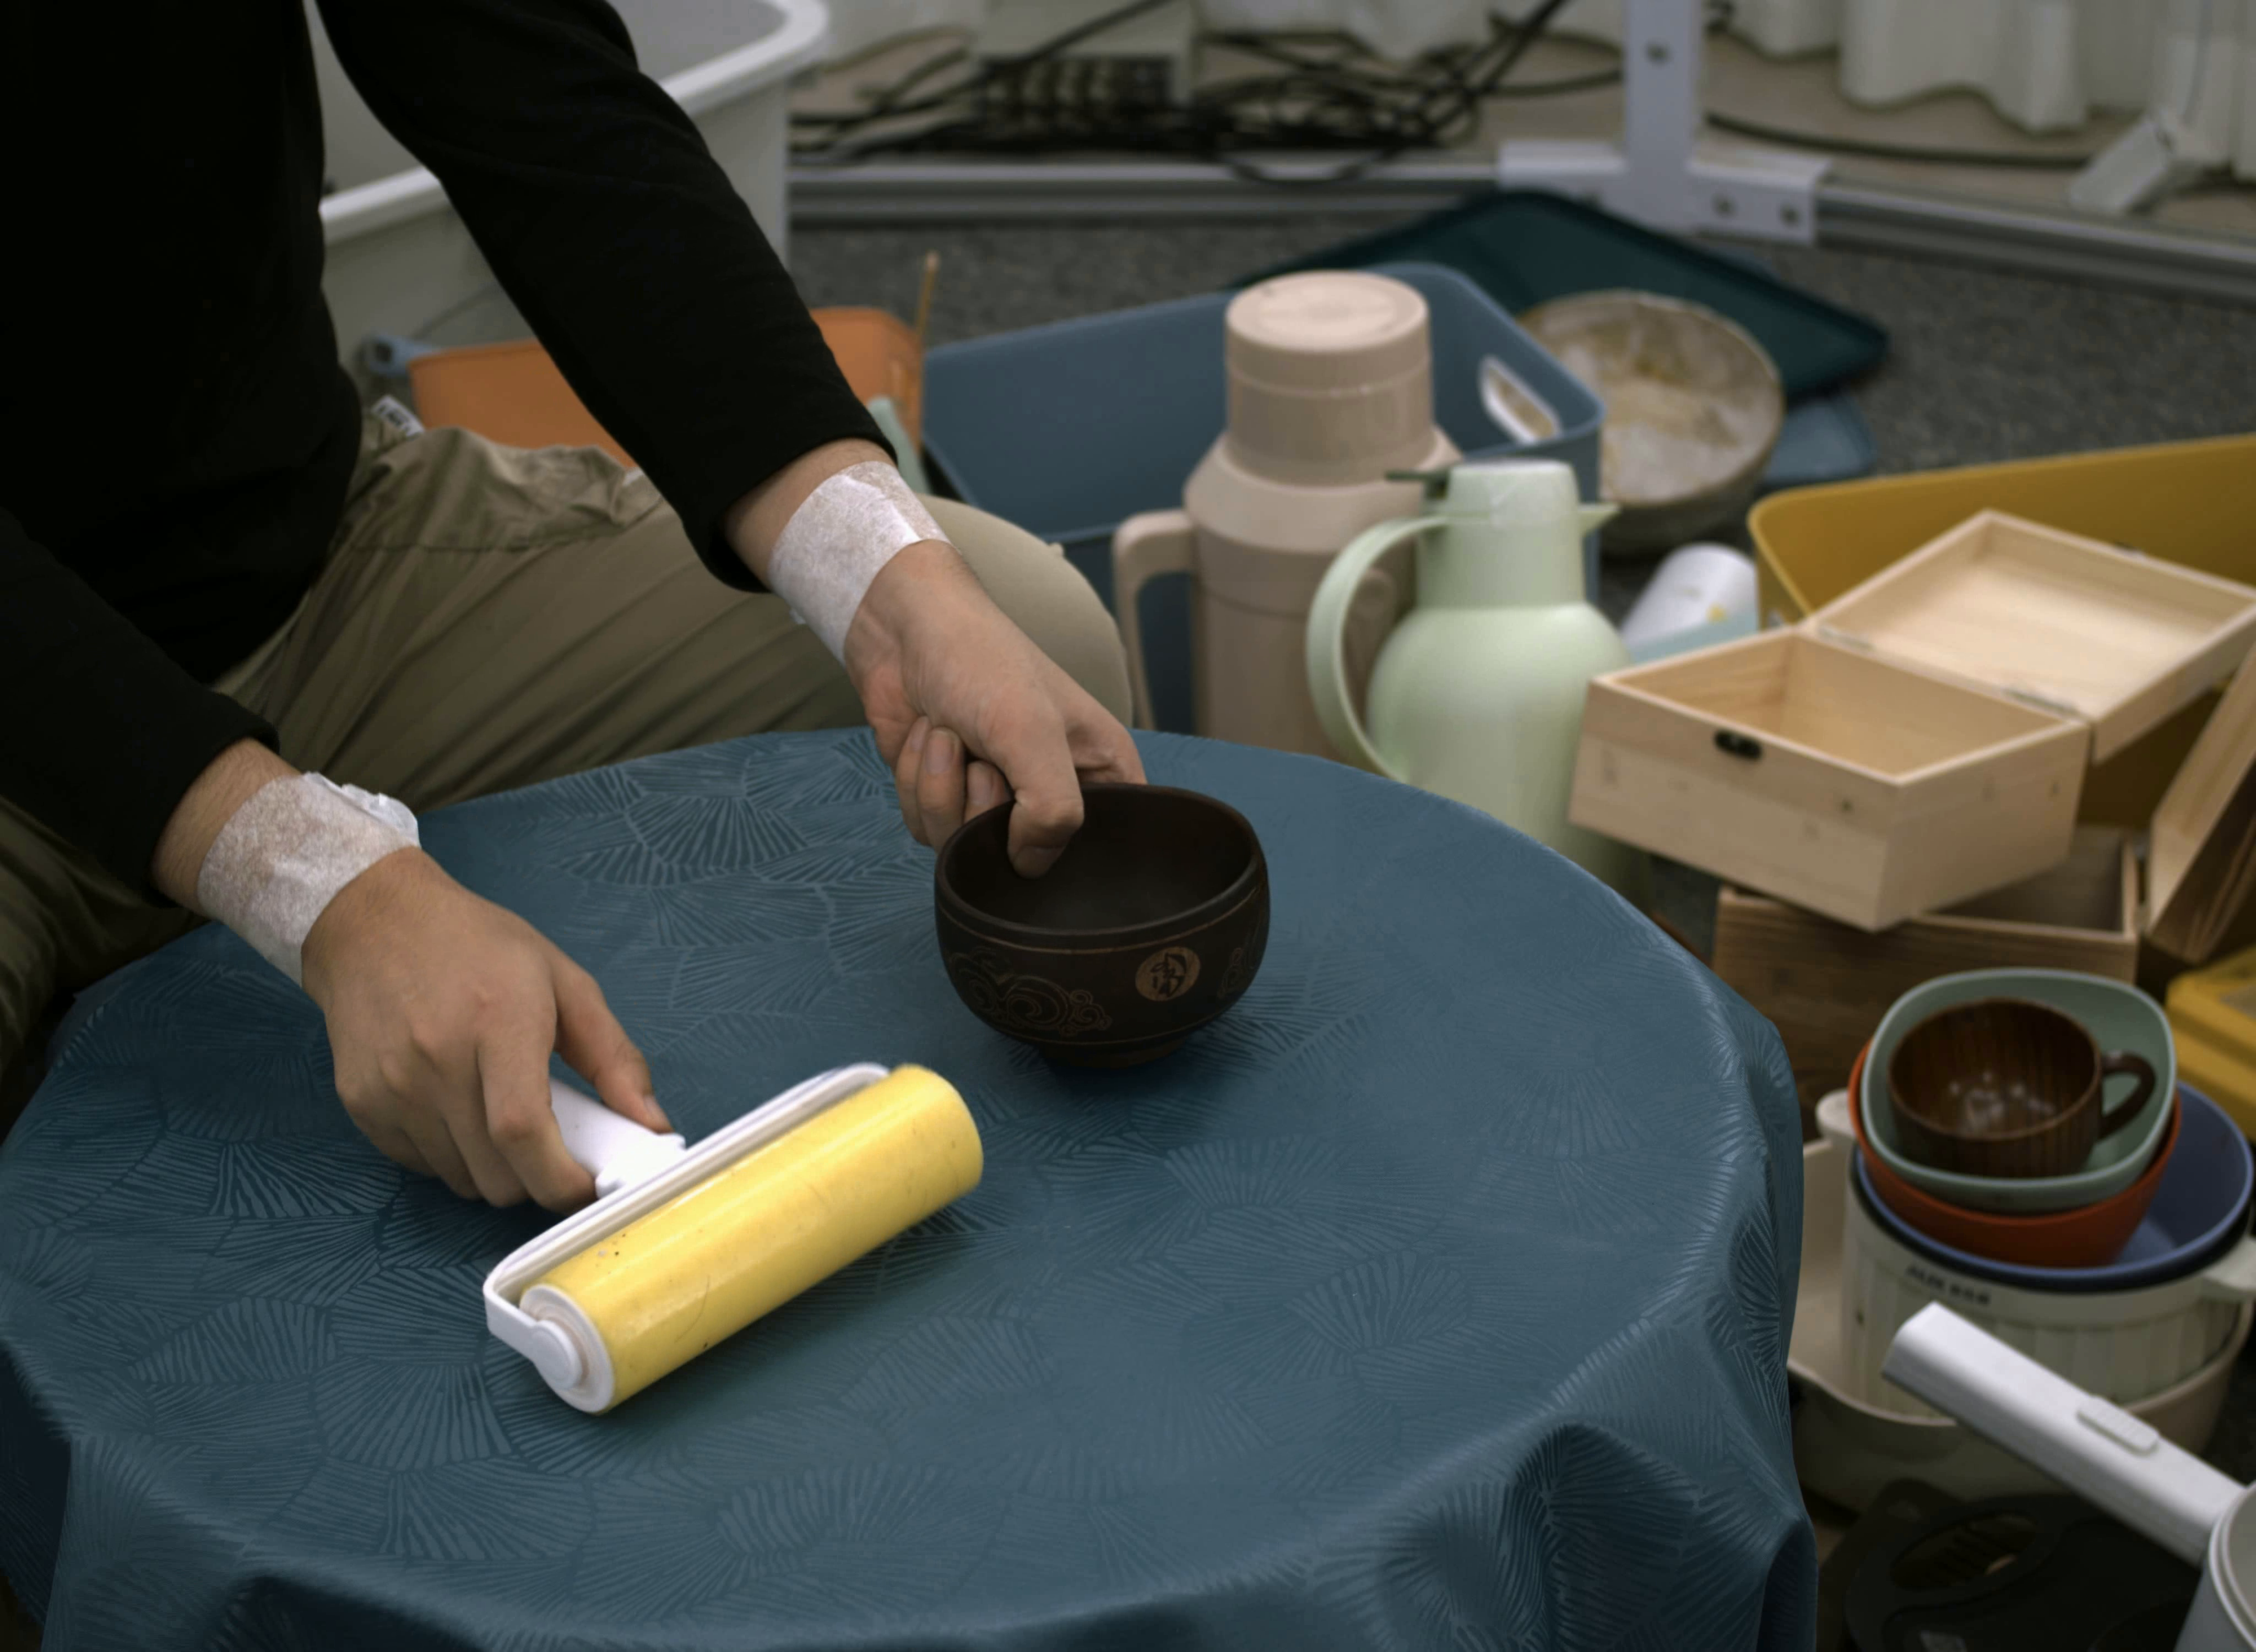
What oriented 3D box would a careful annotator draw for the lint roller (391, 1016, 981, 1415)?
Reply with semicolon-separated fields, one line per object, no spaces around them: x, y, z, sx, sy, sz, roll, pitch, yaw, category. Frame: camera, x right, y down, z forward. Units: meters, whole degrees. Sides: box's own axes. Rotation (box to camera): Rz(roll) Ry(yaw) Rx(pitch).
-0.172;0.099;1.833;0.192;0.050;0.176;33;45;30;lint roller

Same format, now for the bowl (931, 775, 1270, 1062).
-0.009;0.038;1.941;0.117;0.069;0.120;-2;26;1;bowl
